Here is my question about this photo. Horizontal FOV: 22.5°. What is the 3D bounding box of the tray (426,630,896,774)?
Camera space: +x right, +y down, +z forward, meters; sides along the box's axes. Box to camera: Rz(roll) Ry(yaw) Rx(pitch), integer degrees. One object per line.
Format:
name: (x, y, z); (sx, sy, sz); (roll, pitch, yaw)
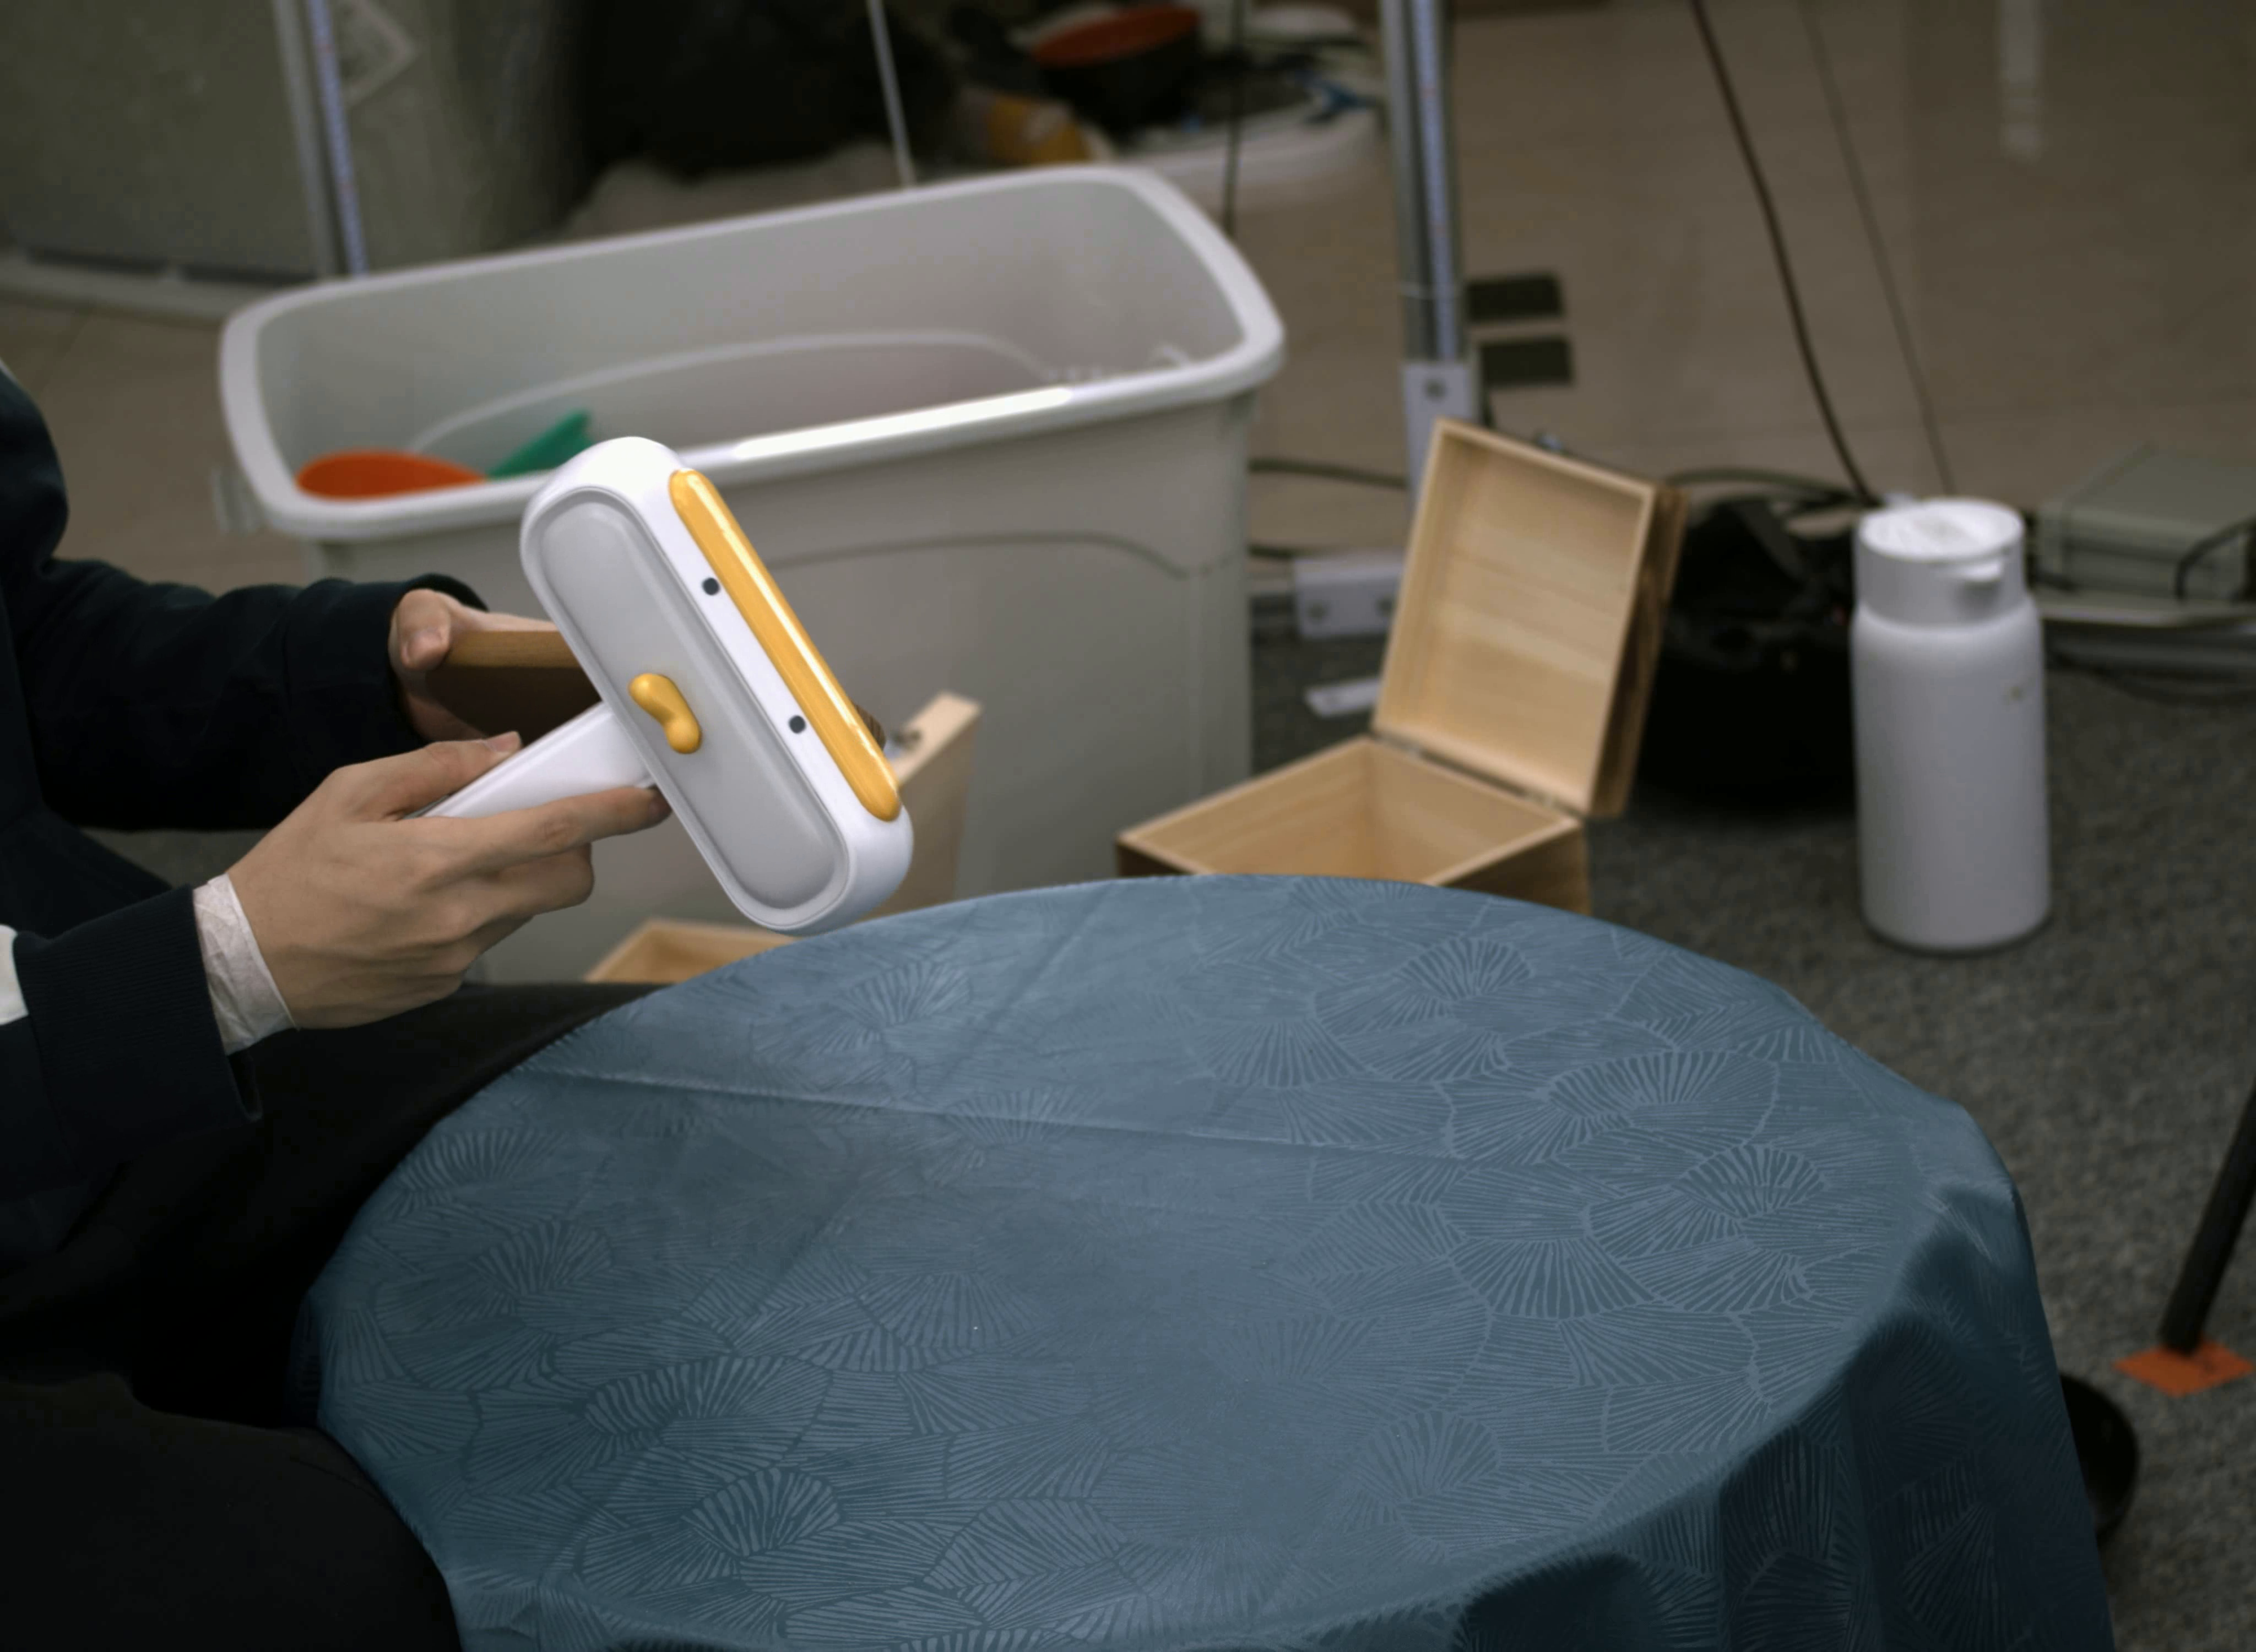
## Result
tray: (-0.179, -0.044, 2.133); (0.230, 0.103, 0.020); (3, 67, 48)

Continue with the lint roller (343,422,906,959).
lint roller: (-0.199, -0.021, 2.029); (0.193, 0.194, 0.073); (-35, 8, 22)
